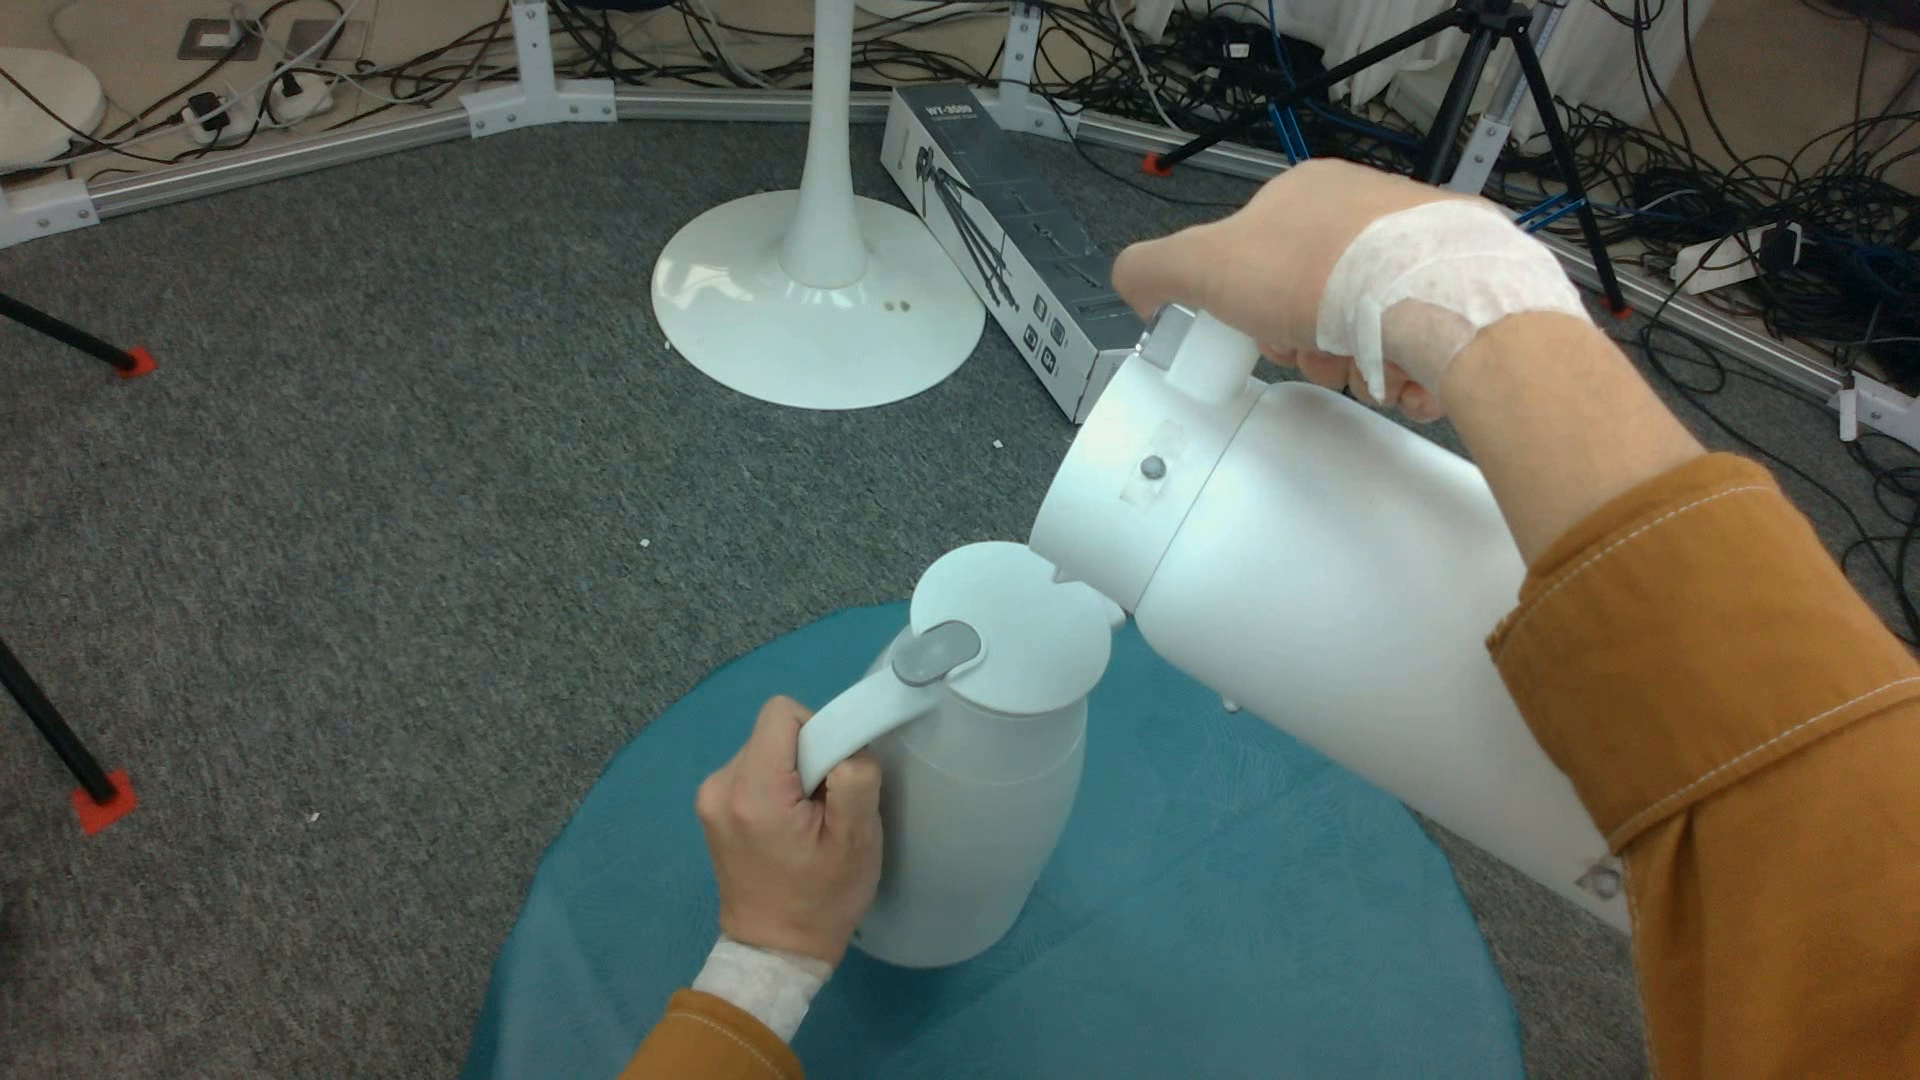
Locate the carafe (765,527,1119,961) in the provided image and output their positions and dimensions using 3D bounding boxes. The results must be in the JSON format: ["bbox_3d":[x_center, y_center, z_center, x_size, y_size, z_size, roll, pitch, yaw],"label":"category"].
[{"bbox_3d":[-0.018,0.107,0.685,0.168,0.247,0.133,-18,59,-26],"label":"carafe"}]

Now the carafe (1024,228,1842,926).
[{"bbox_3d":[0.167,0.009,0.495,0.269,0.172,0.124,32,38,11],"label":"carafe"}]
